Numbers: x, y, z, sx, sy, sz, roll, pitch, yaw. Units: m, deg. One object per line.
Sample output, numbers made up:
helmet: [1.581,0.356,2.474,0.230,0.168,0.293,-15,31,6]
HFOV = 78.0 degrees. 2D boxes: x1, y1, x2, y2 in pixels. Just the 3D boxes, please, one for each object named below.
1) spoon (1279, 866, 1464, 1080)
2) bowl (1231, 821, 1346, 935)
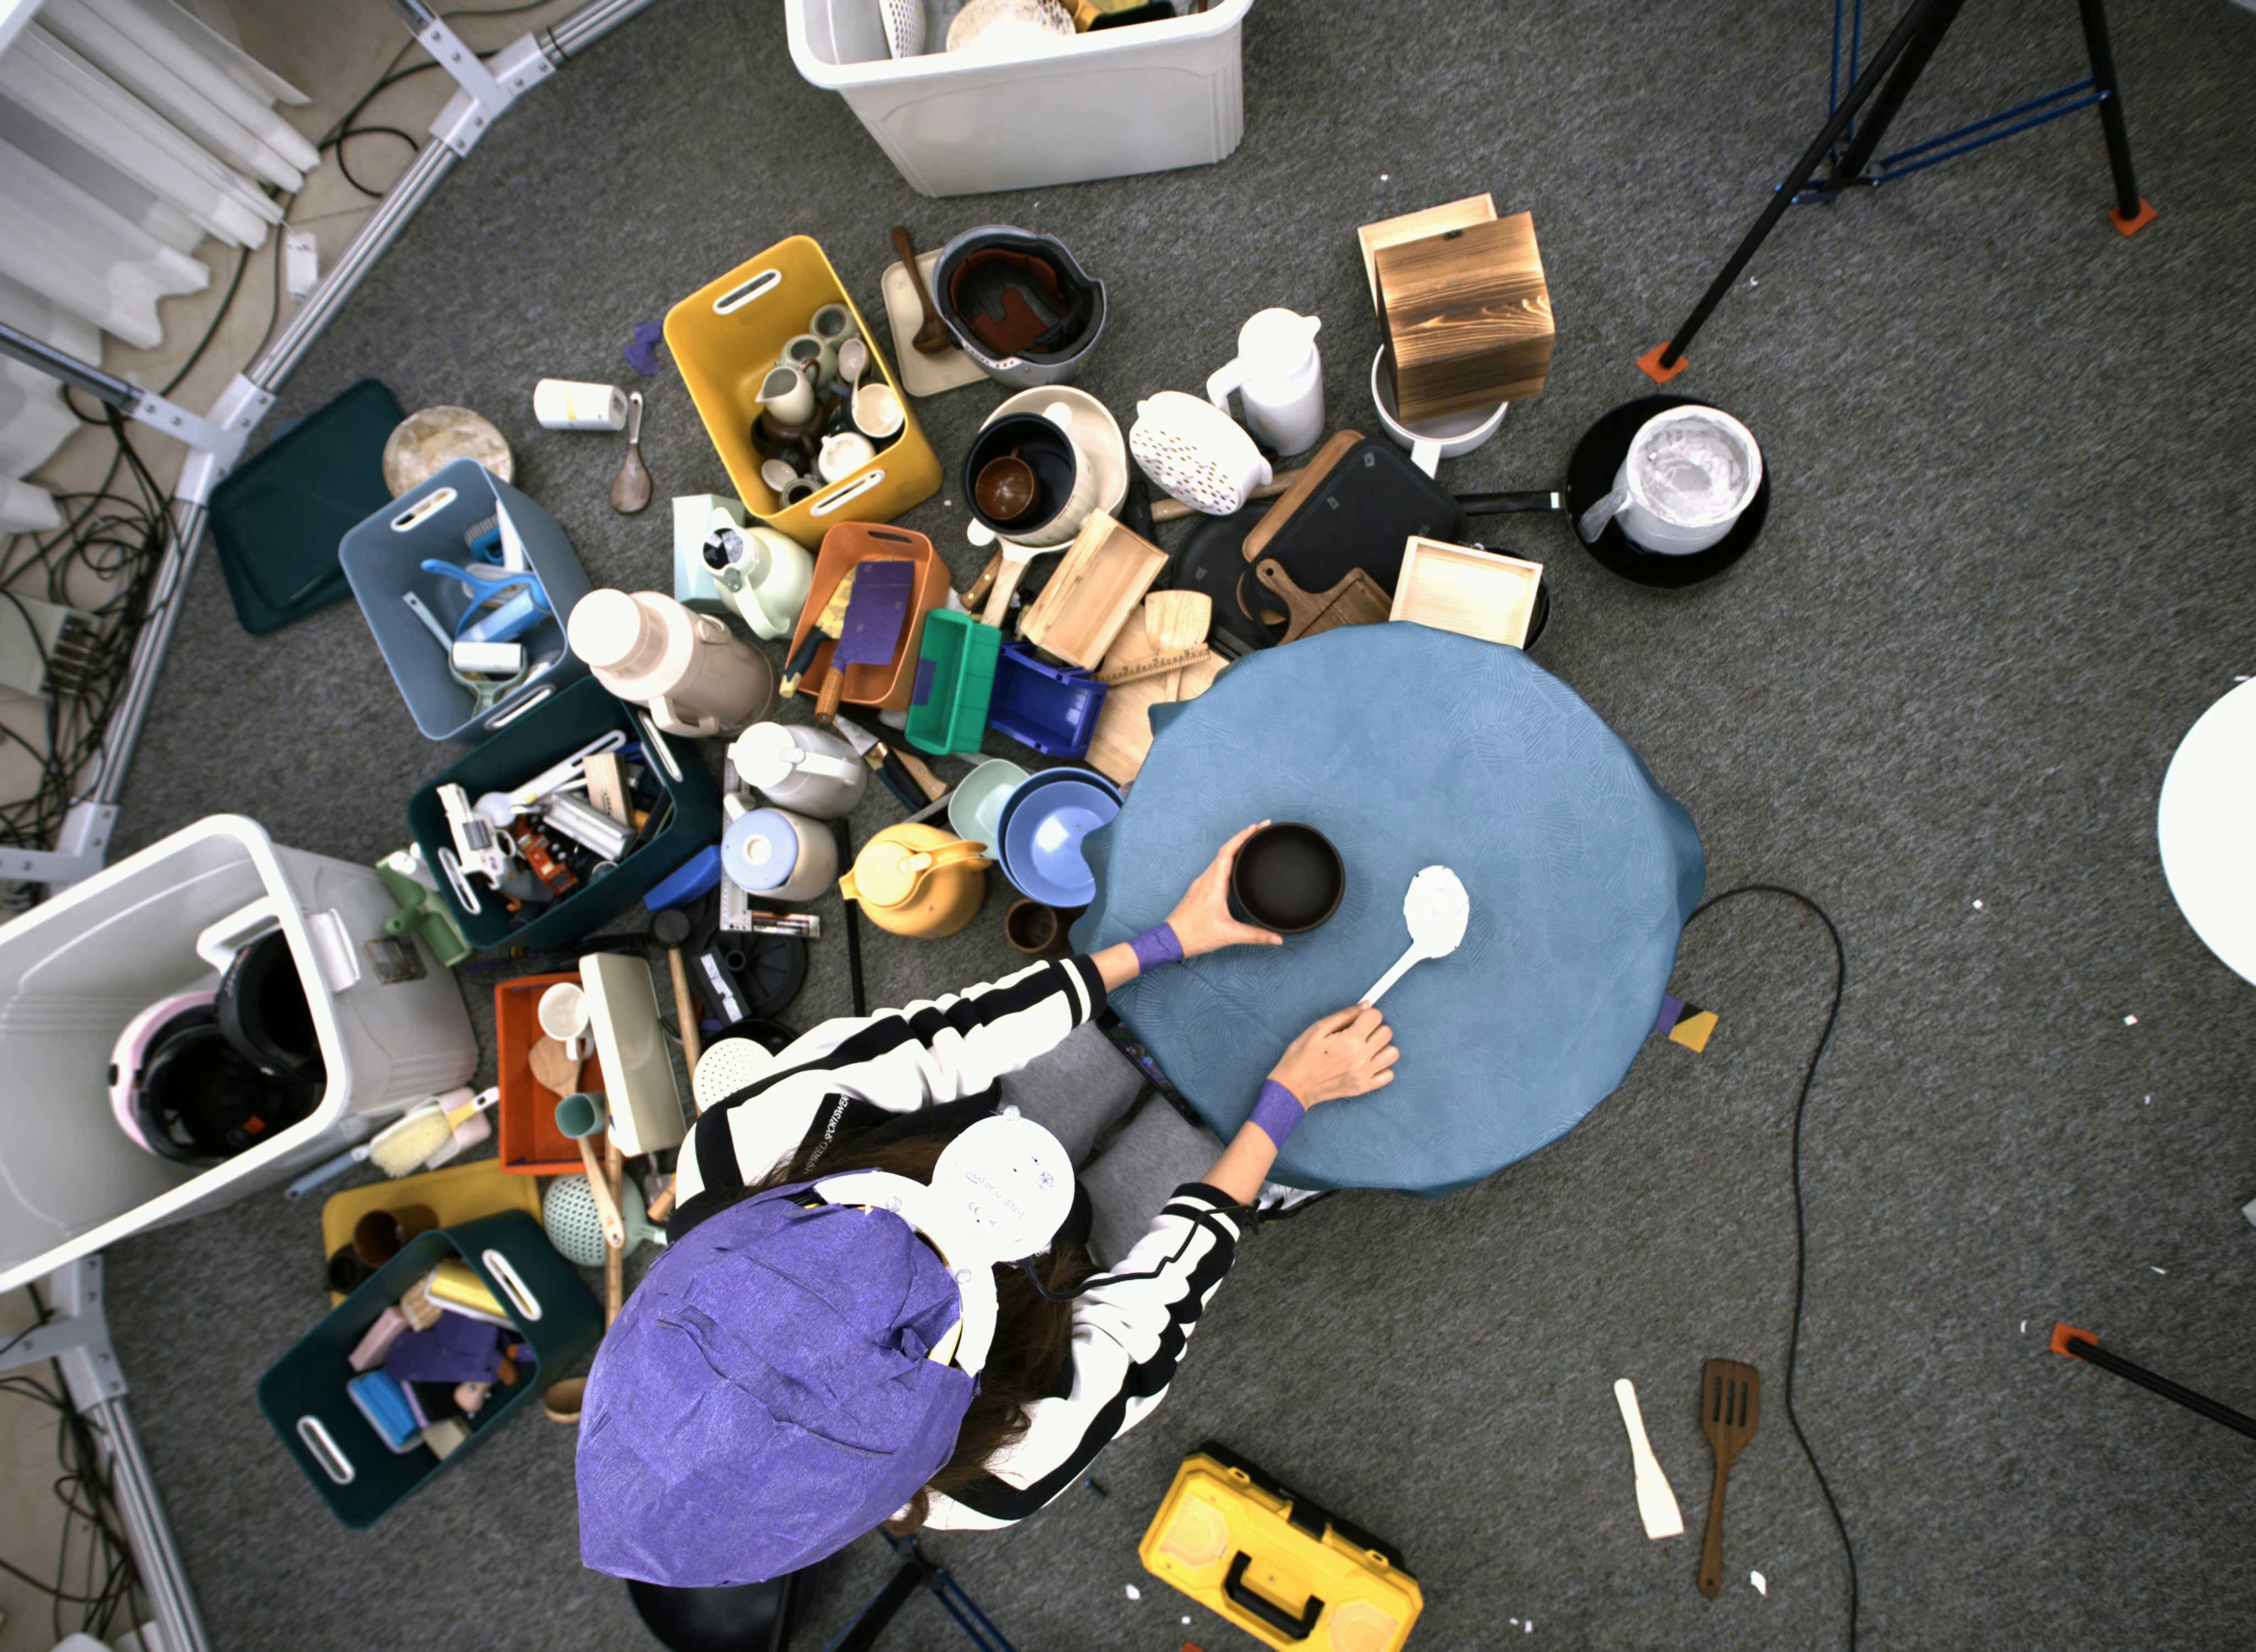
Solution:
spoon: [0.243,0.154,1.434,0.279,0.060,0.099,-44,37,10]
bowl: [0.168,0.055,1.443,0.118,0.070,0.117,-1,85,10]
